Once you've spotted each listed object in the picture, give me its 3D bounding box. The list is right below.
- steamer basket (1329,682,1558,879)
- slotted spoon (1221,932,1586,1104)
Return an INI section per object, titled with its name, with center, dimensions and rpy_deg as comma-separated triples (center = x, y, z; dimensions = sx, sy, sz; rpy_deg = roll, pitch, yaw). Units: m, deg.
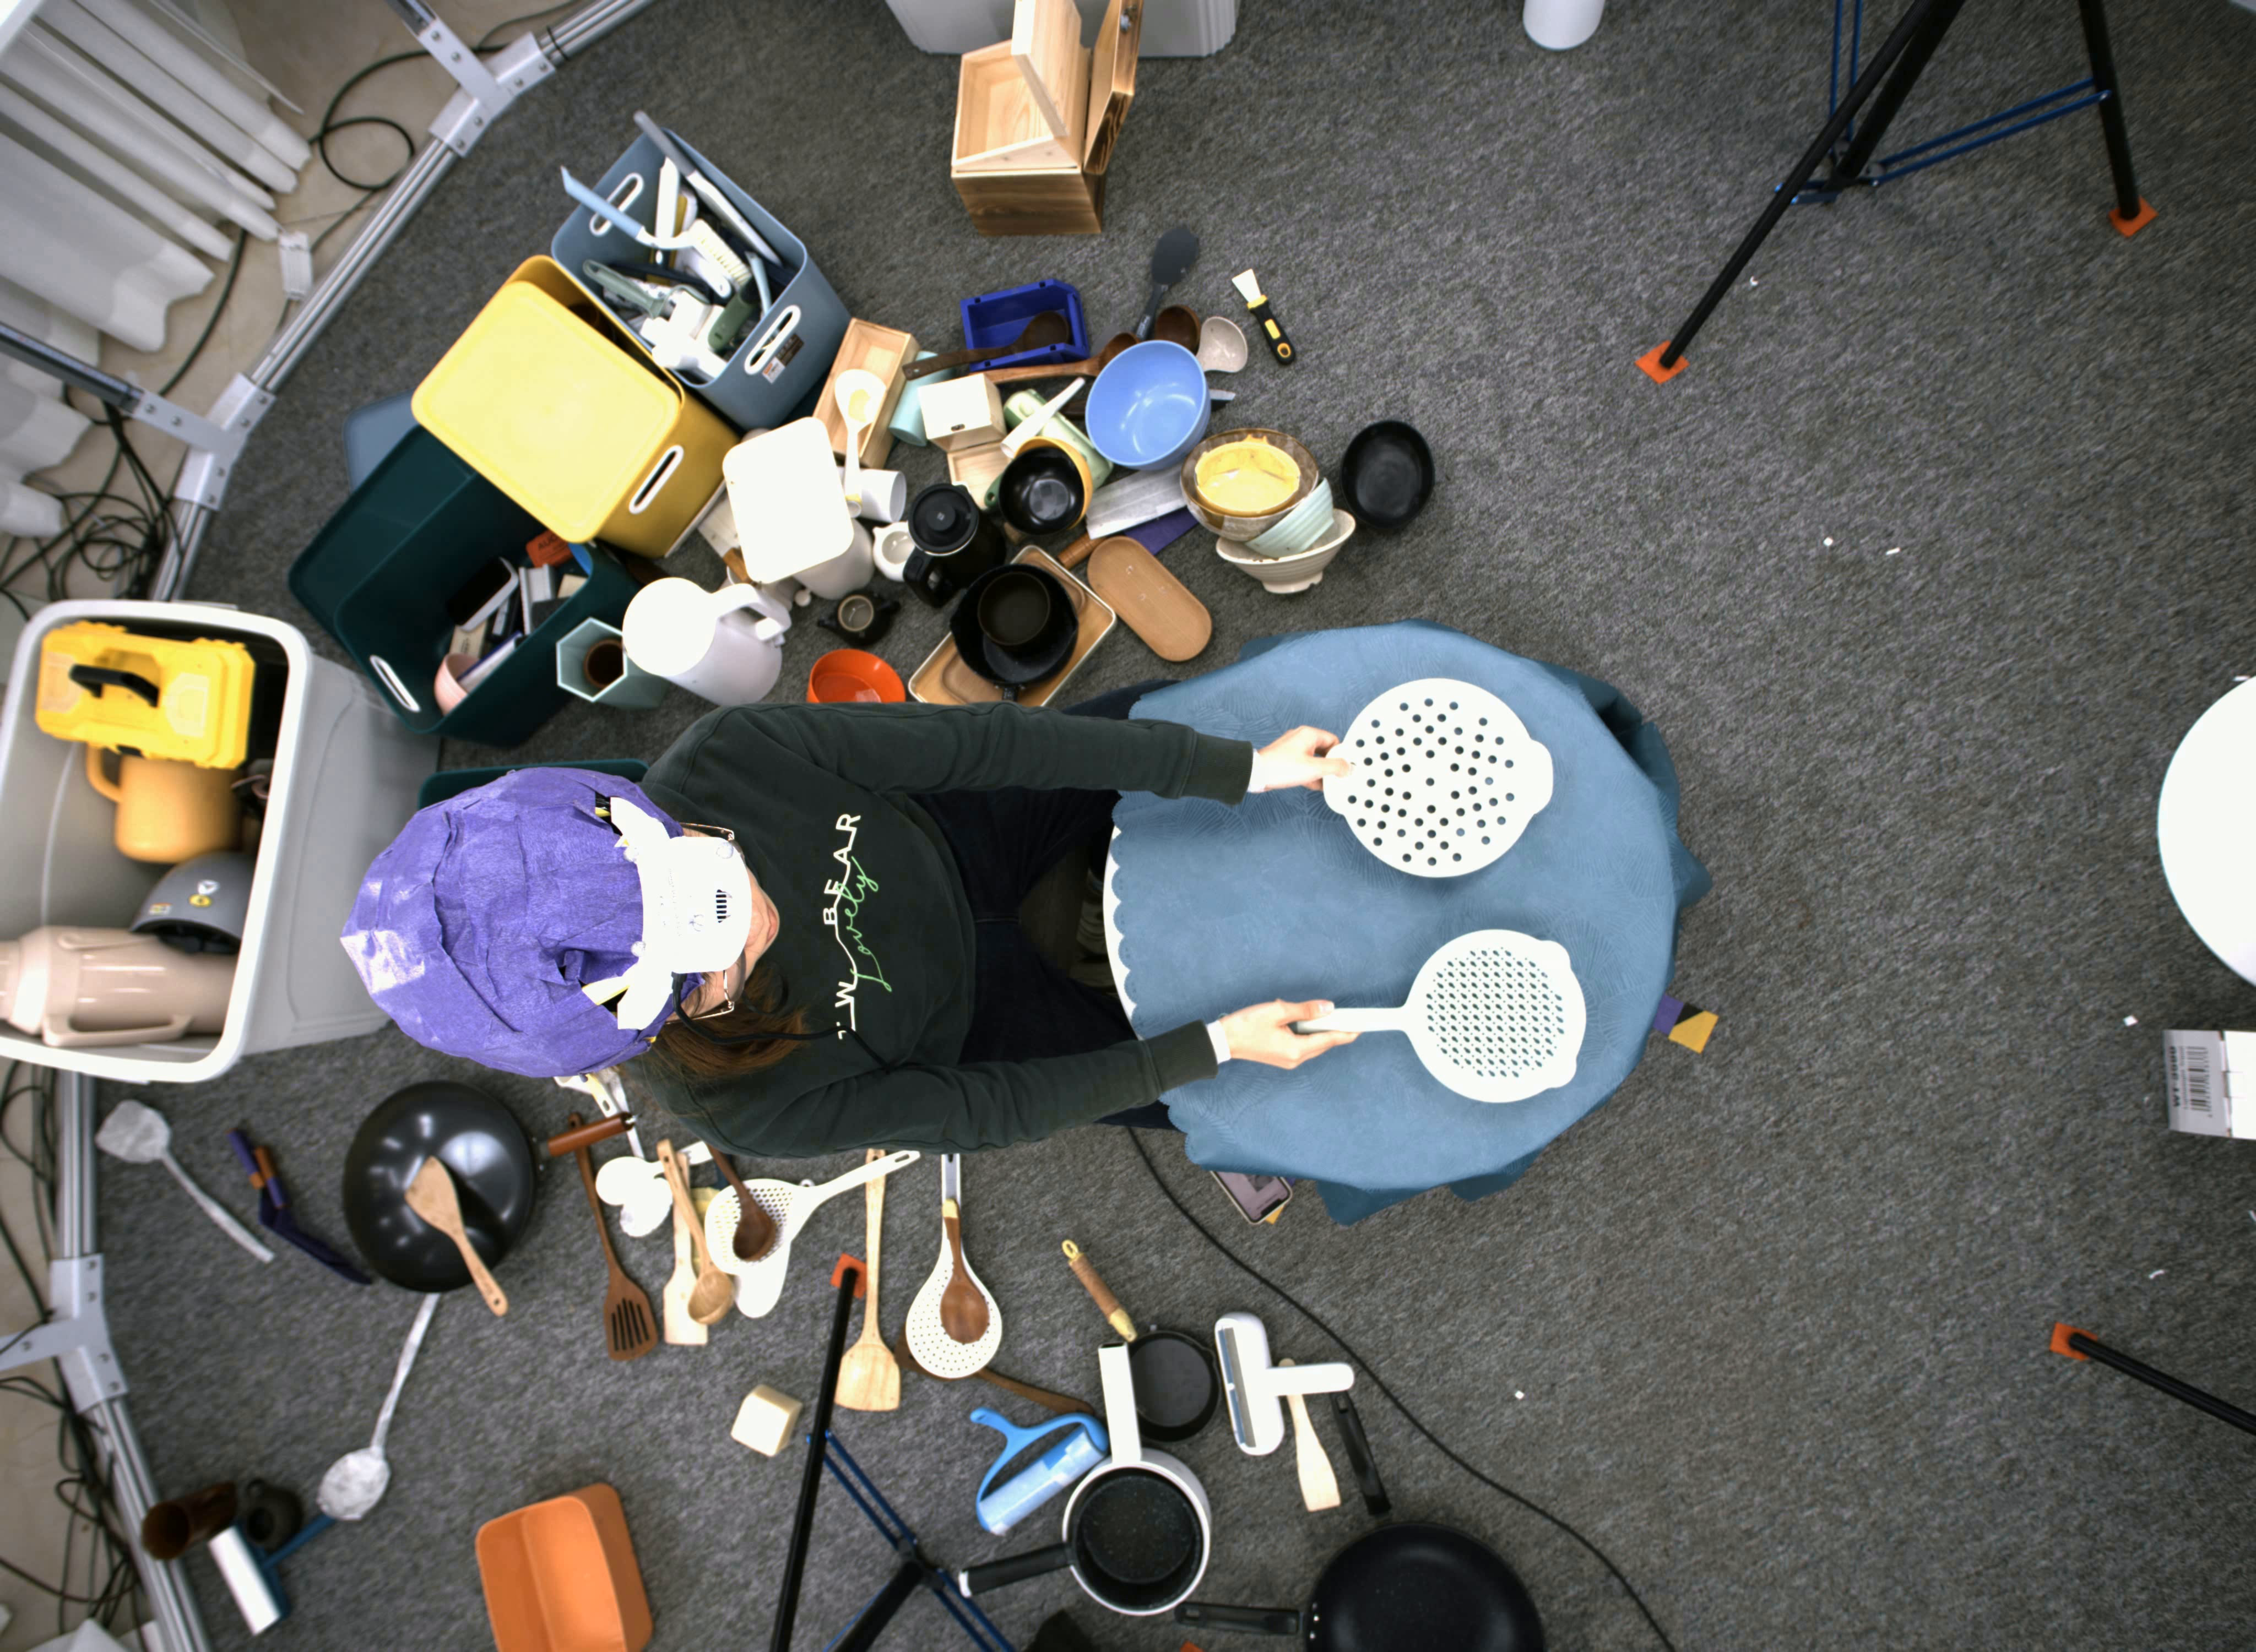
[steamer basket]
center = 0.322, -0.047, 1.421
dimensions = 0.231, 0.069, 0.201
rpy_deg = -2, 88, 6
[slotted spoon]
center = 0.273, 0.195, 1.397
dimensions = 0.360, 0.075, 0.168
rpy_deg = -3, 86, 5
